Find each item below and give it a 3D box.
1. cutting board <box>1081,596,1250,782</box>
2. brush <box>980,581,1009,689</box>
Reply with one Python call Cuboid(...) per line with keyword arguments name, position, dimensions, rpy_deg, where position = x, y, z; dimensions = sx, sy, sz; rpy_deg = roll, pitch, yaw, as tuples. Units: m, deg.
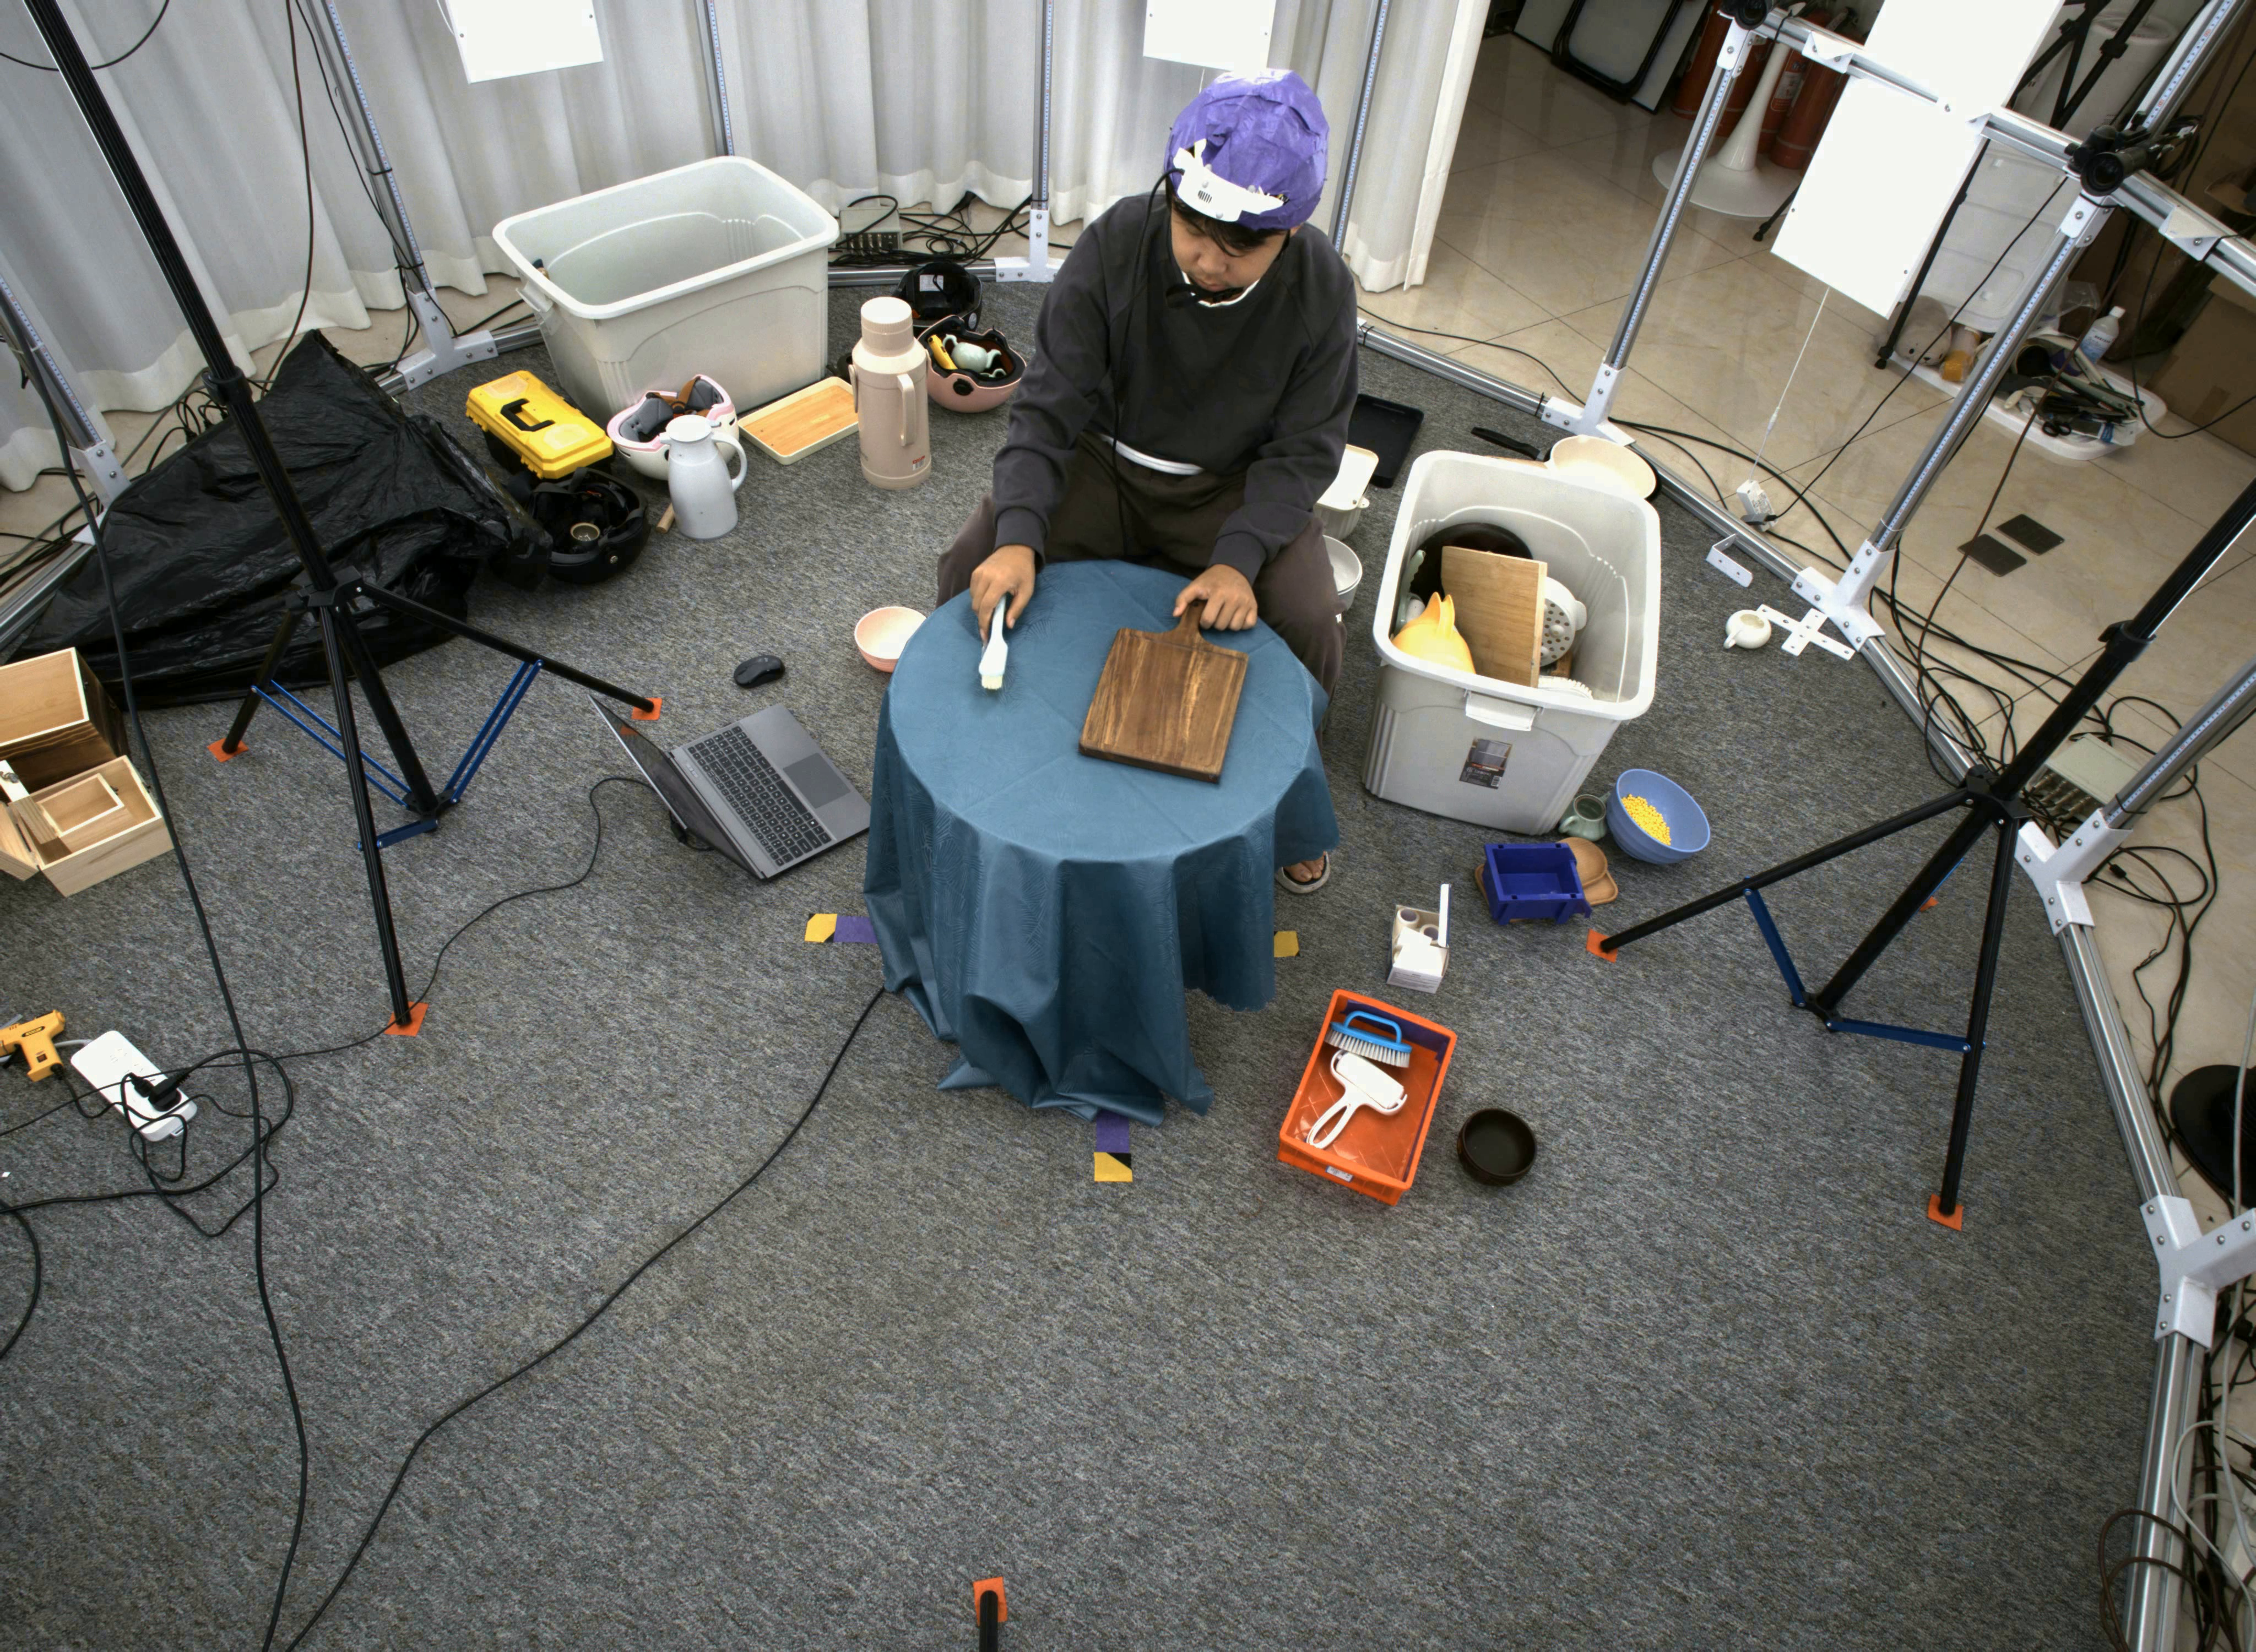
Cuboid(name="cutting board", position=(0.067, -0.213, 1.842), dimensions=(0.201, 0.022, 0.360), rpy_deg=(12, 49, 6))
Cuboid(name="brush", position=(-0.190, -0.282, 1.867), dimensions=(0.038, 0.048, 0.234), rpy_deg=(2, 48, -4))
